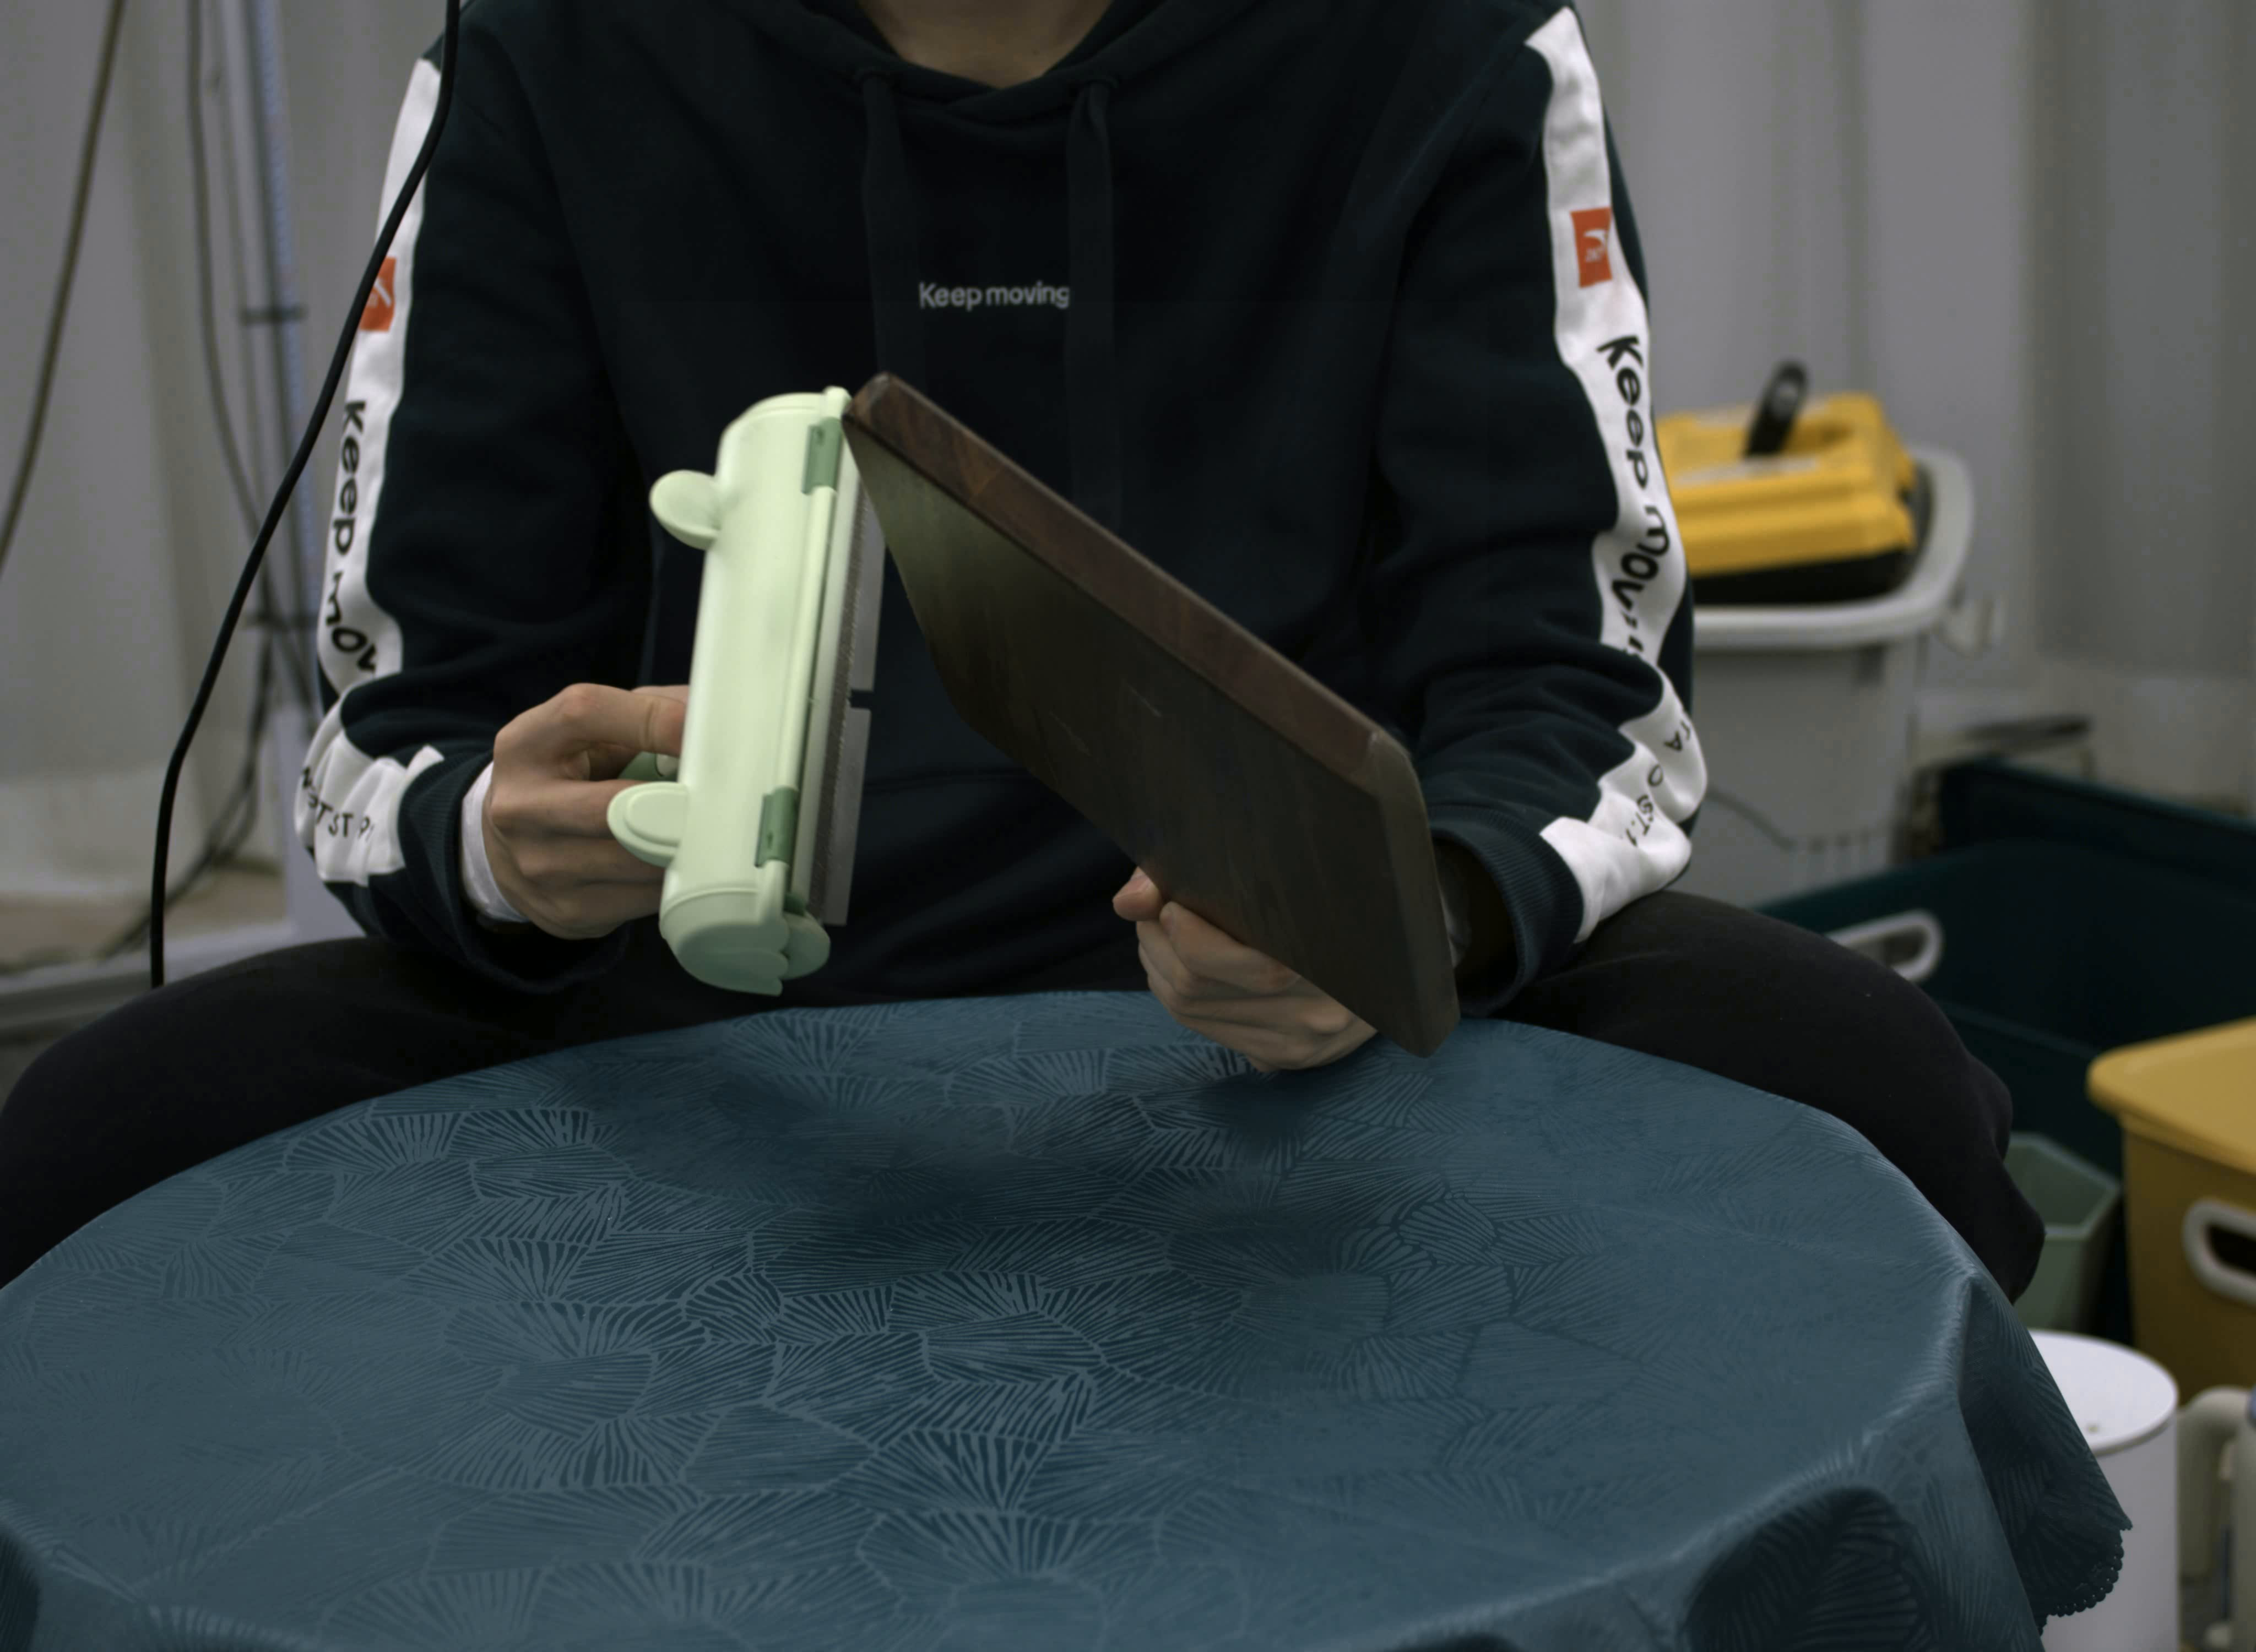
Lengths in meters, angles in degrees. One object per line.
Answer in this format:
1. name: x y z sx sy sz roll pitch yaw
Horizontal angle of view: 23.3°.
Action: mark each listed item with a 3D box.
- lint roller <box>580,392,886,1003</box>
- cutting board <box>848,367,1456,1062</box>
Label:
1. lint roller: -0.150 -0.026 1.783 0.081 0.201 0.182 23 -34 -30
2. cutting board: 0.016 -0.011 1.660 0.202 0.023 0.349 37 -12 17
